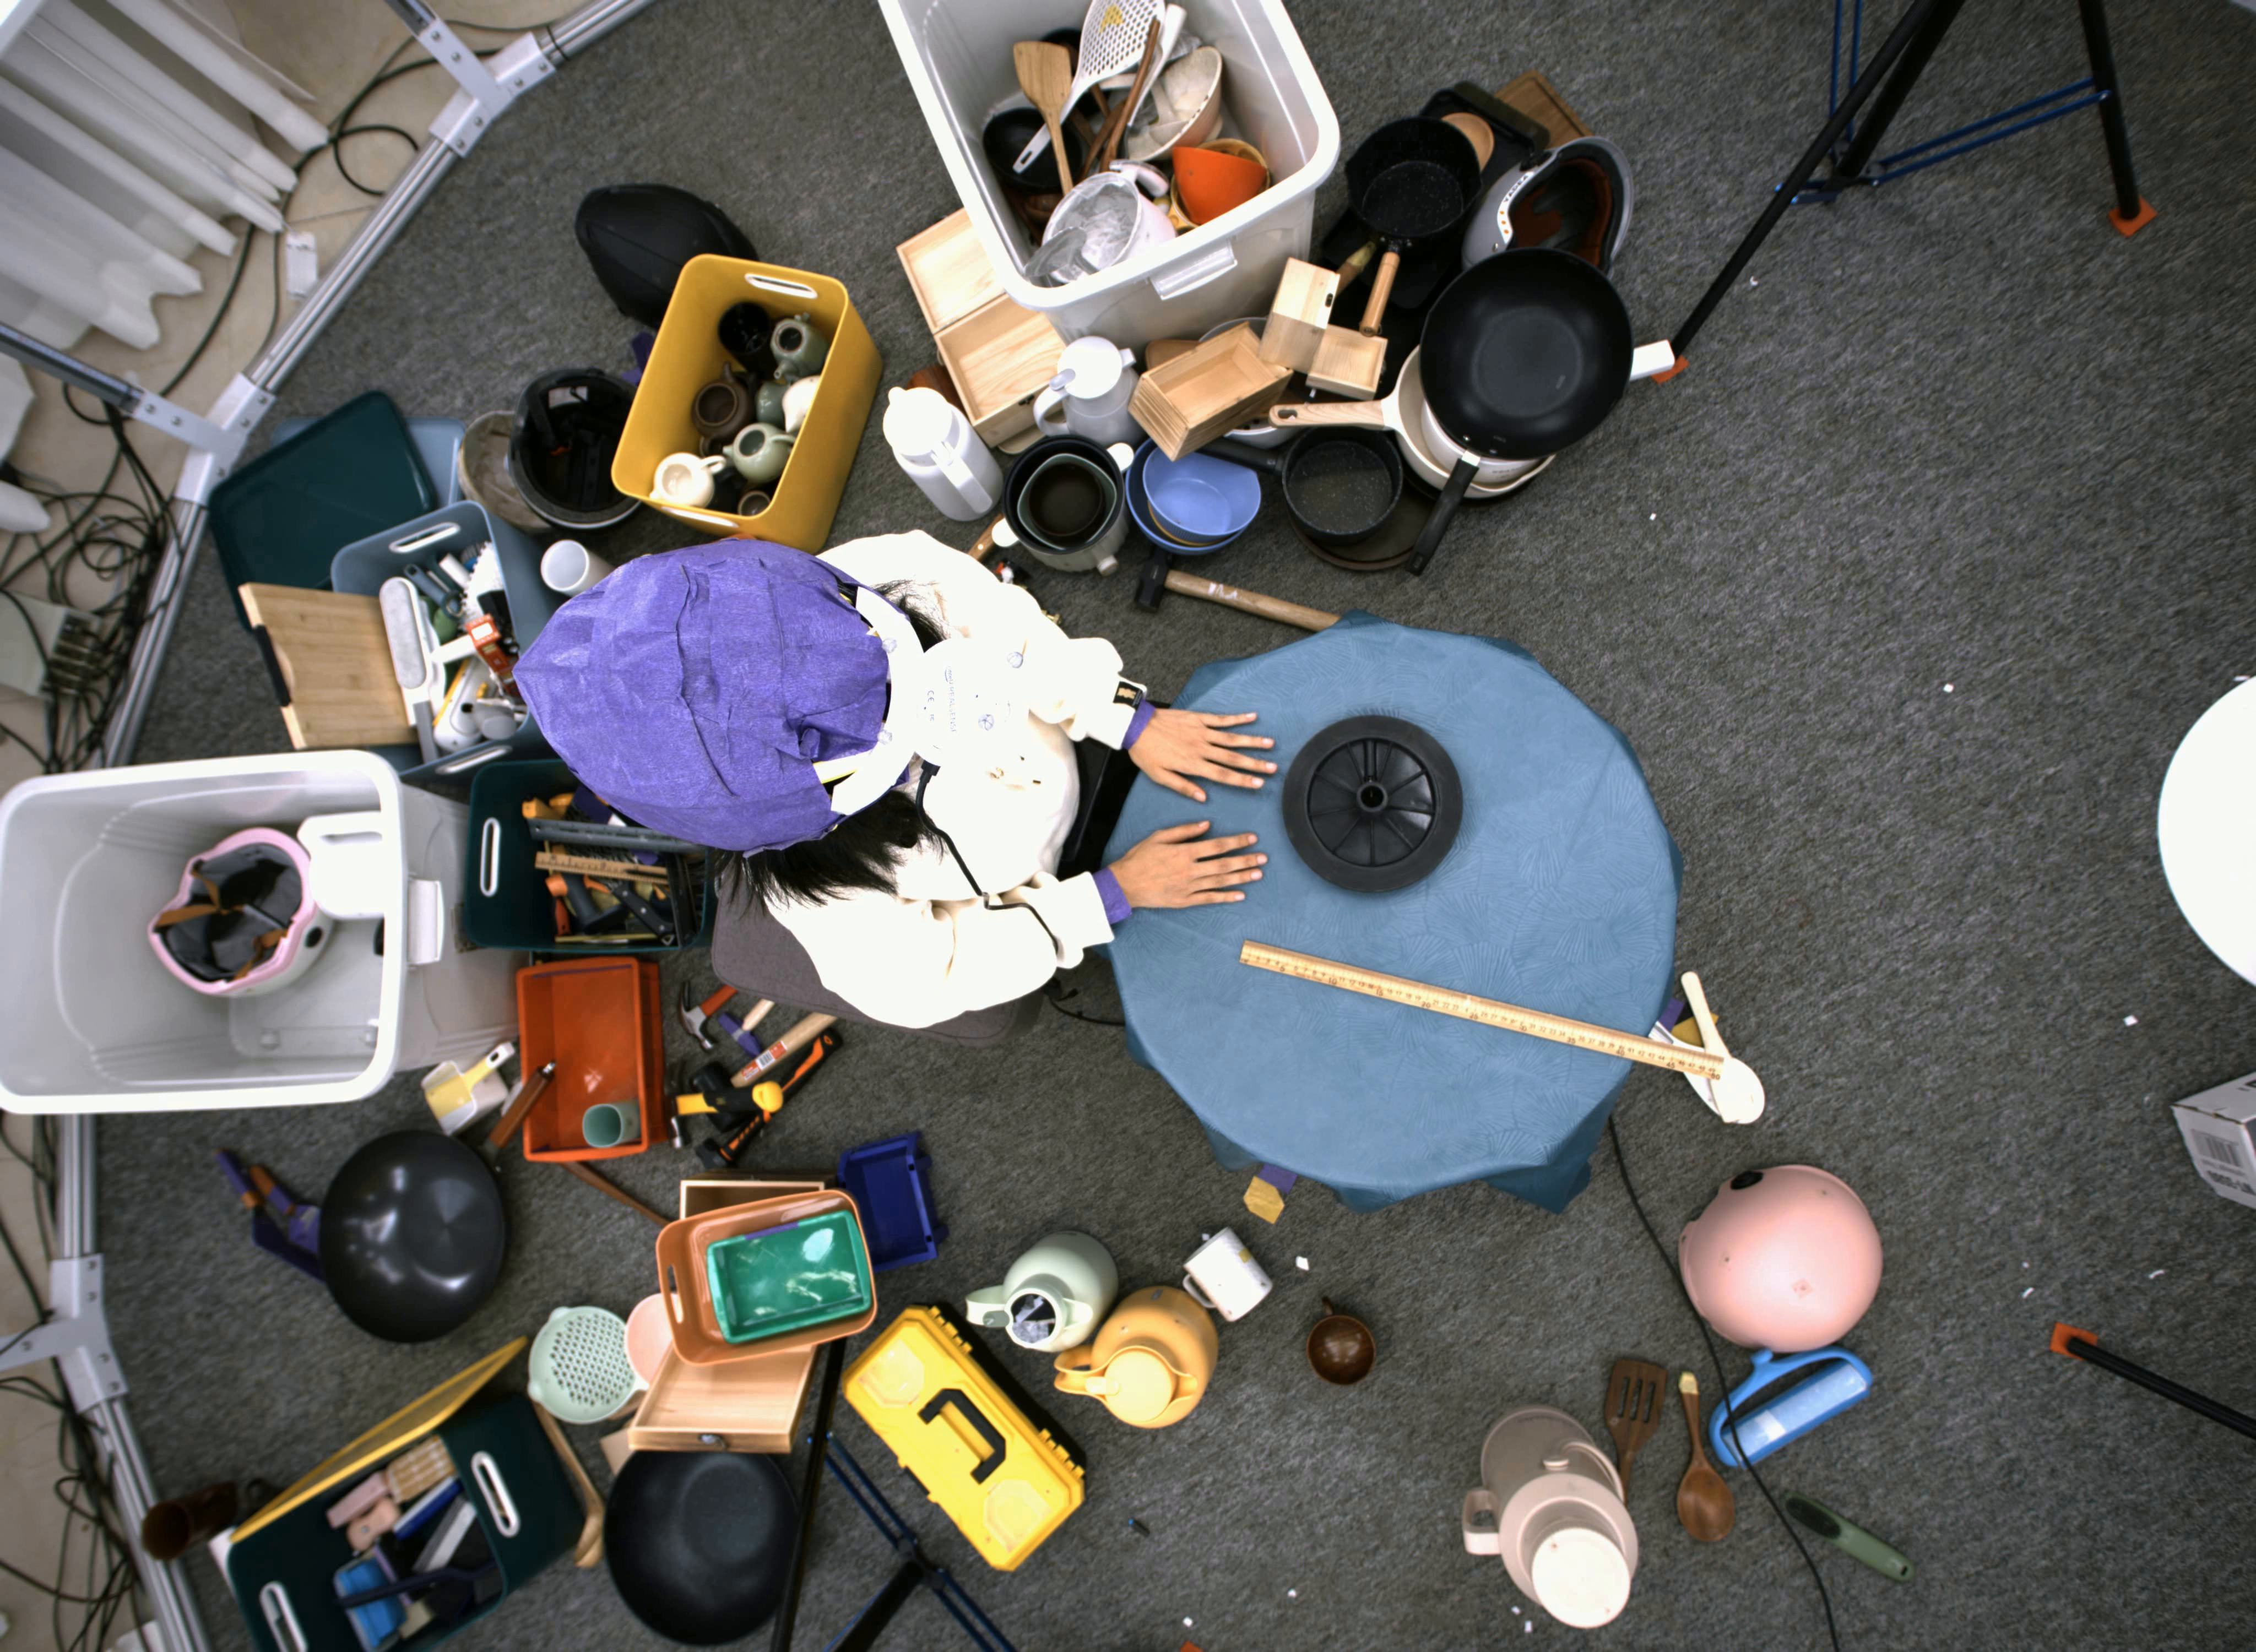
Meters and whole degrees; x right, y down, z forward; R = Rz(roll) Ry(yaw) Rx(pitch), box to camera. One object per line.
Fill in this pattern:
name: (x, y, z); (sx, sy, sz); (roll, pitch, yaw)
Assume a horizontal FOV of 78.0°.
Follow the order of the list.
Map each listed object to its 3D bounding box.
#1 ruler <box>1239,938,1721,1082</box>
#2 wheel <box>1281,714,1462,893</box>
ruler: (0.359, 0.187, 1.434); (0.501, 0.006, 0.027); (13, 90, 11)
wheel: (0.252, -0.027, 1.430); (0.188, 0.079, 0.189); (-24, 84, 8)
